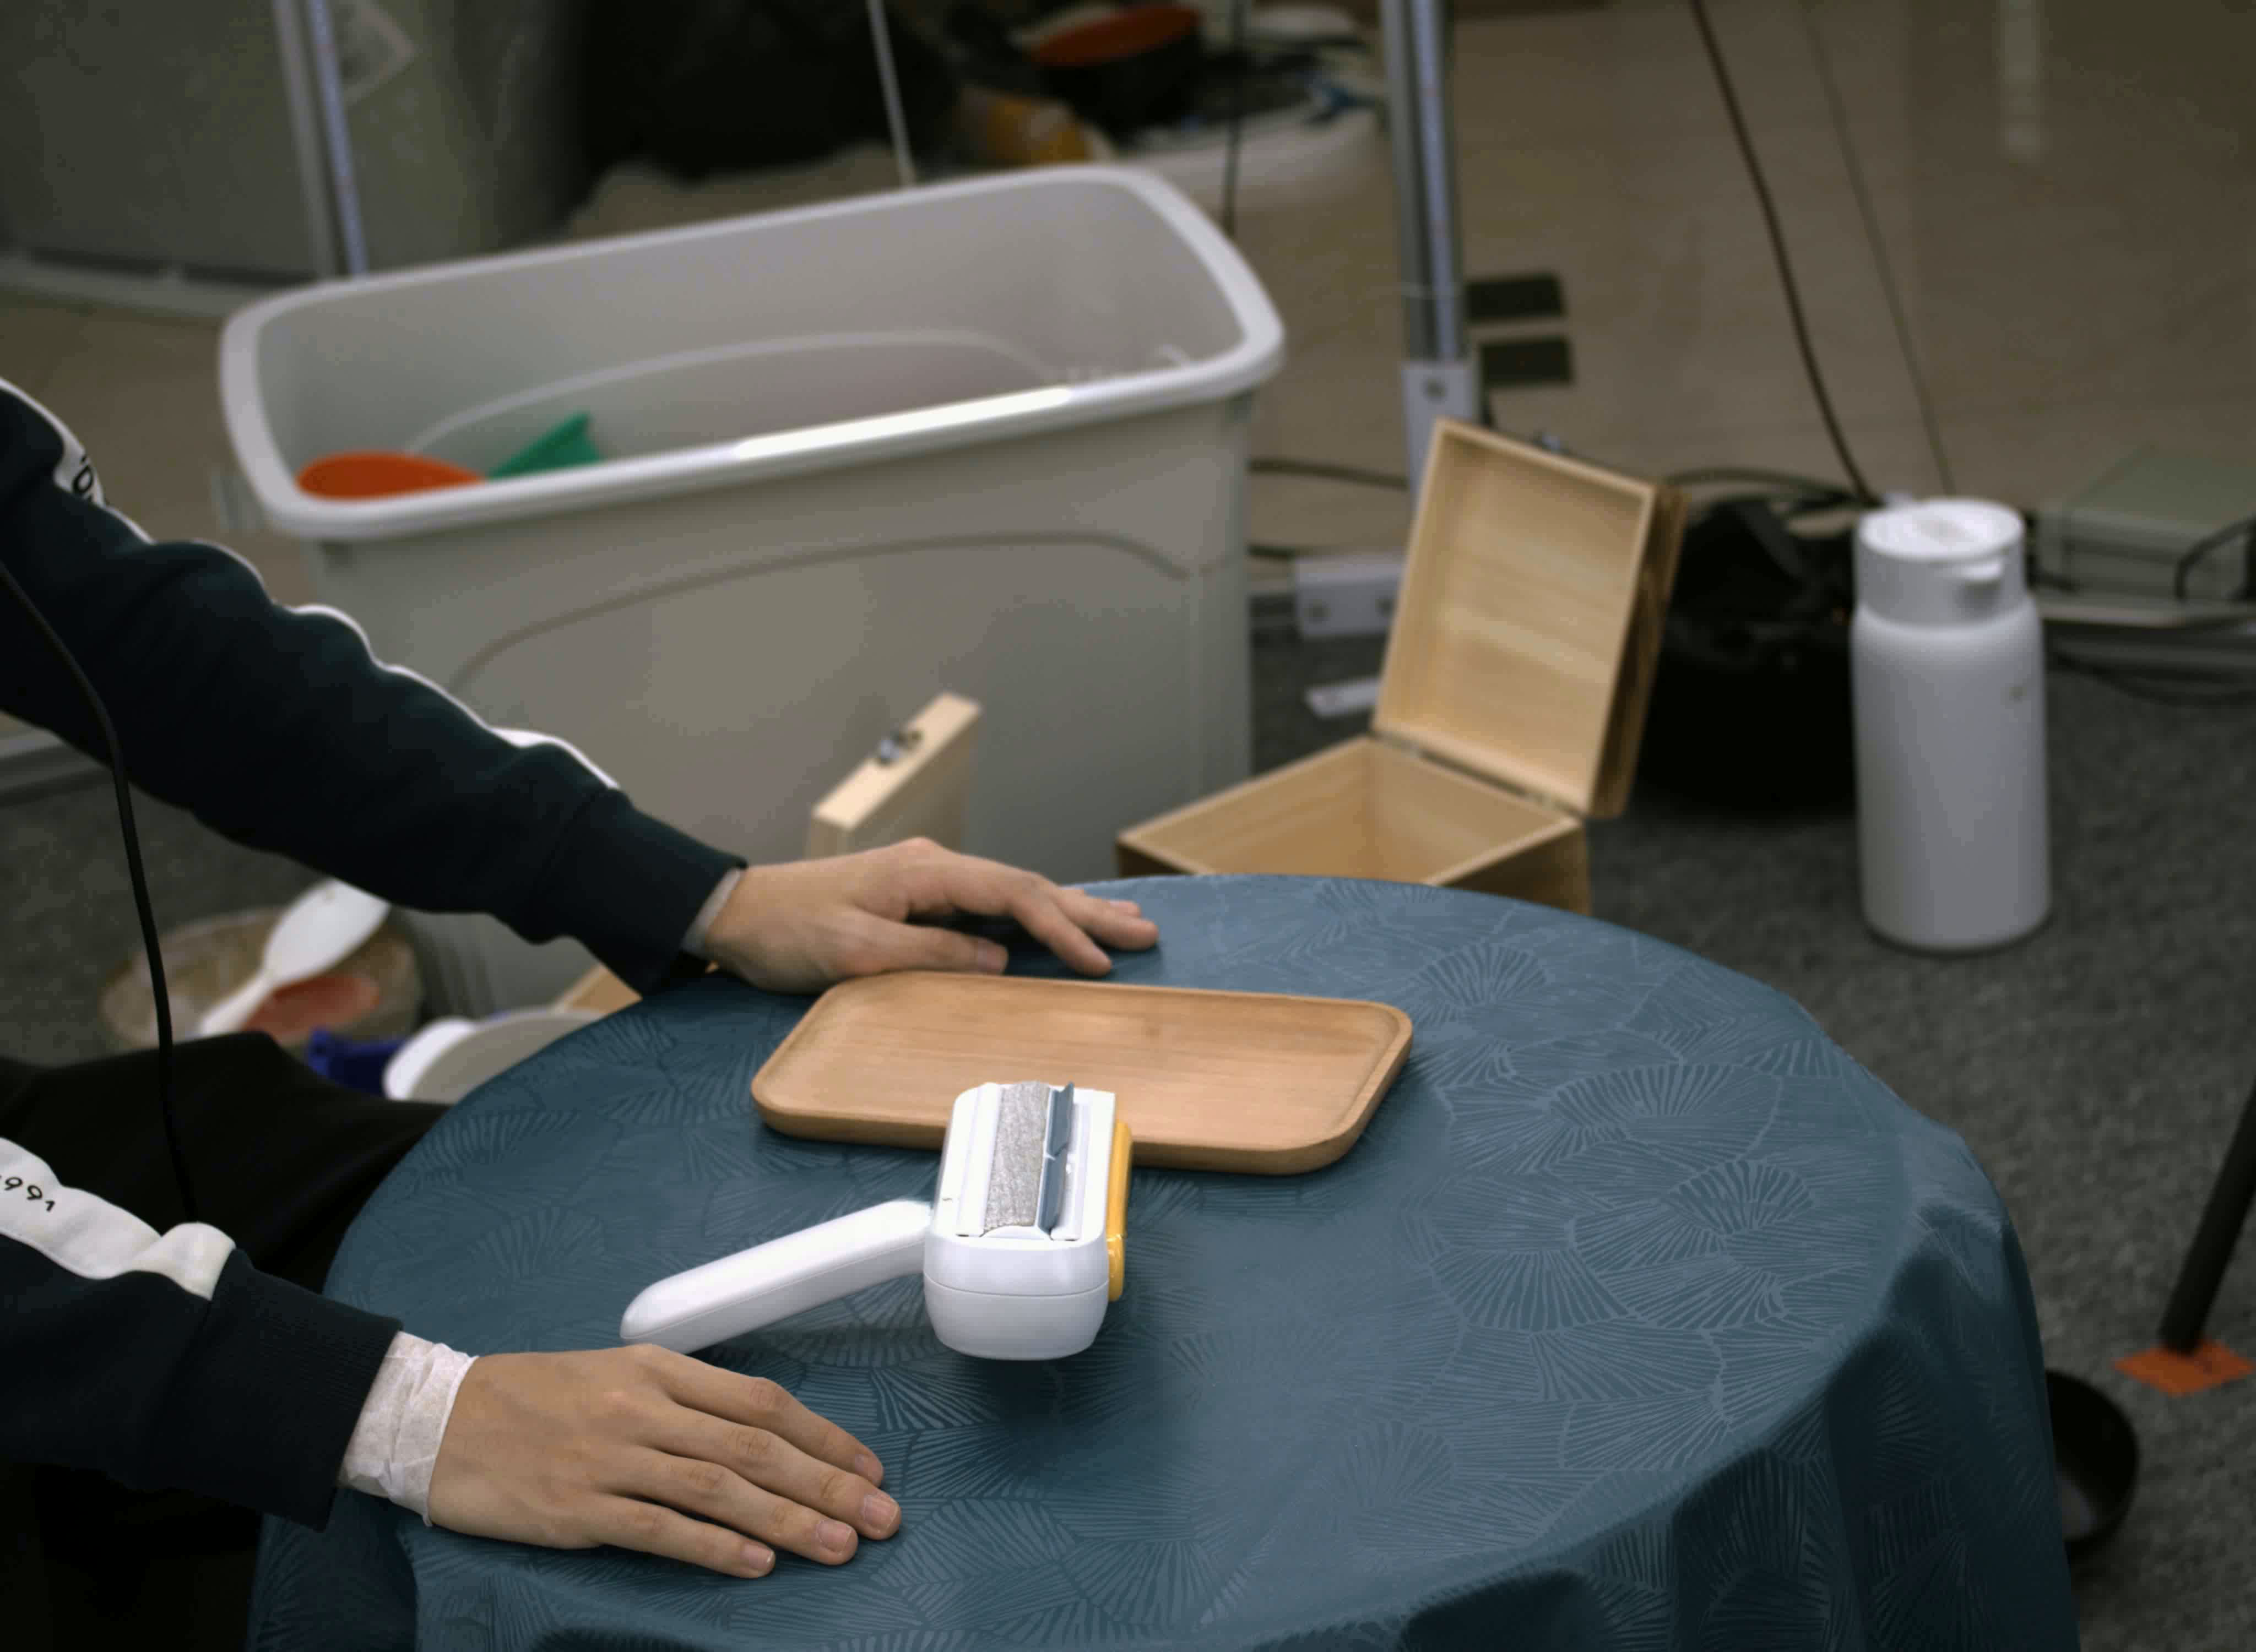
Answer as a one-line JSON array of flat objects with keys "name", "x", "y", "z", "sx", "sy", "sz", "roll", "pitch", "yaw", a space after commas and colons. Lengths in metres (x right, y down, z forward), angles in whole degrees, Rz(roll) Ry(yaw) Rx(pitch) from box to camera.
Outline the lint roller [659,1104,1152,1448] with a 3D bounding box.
[{"name": "lint roller", "x": -0.088, "y": 0.172, "z": 2.059, "sx": 0.192, "sy": 0.075, "sz": 0.190, "roll": -17, "pitch": 16, "yaw": 12}]

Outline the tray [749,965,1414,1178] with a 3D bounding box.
[{"name": "tray", "x": -0.018, "y": 0.096, "z": 2.222, "sx": 0.250, "sy": 0.023, "sz": 0.129, "roll": 3, "pitch": 25, "yaw": 21}]
